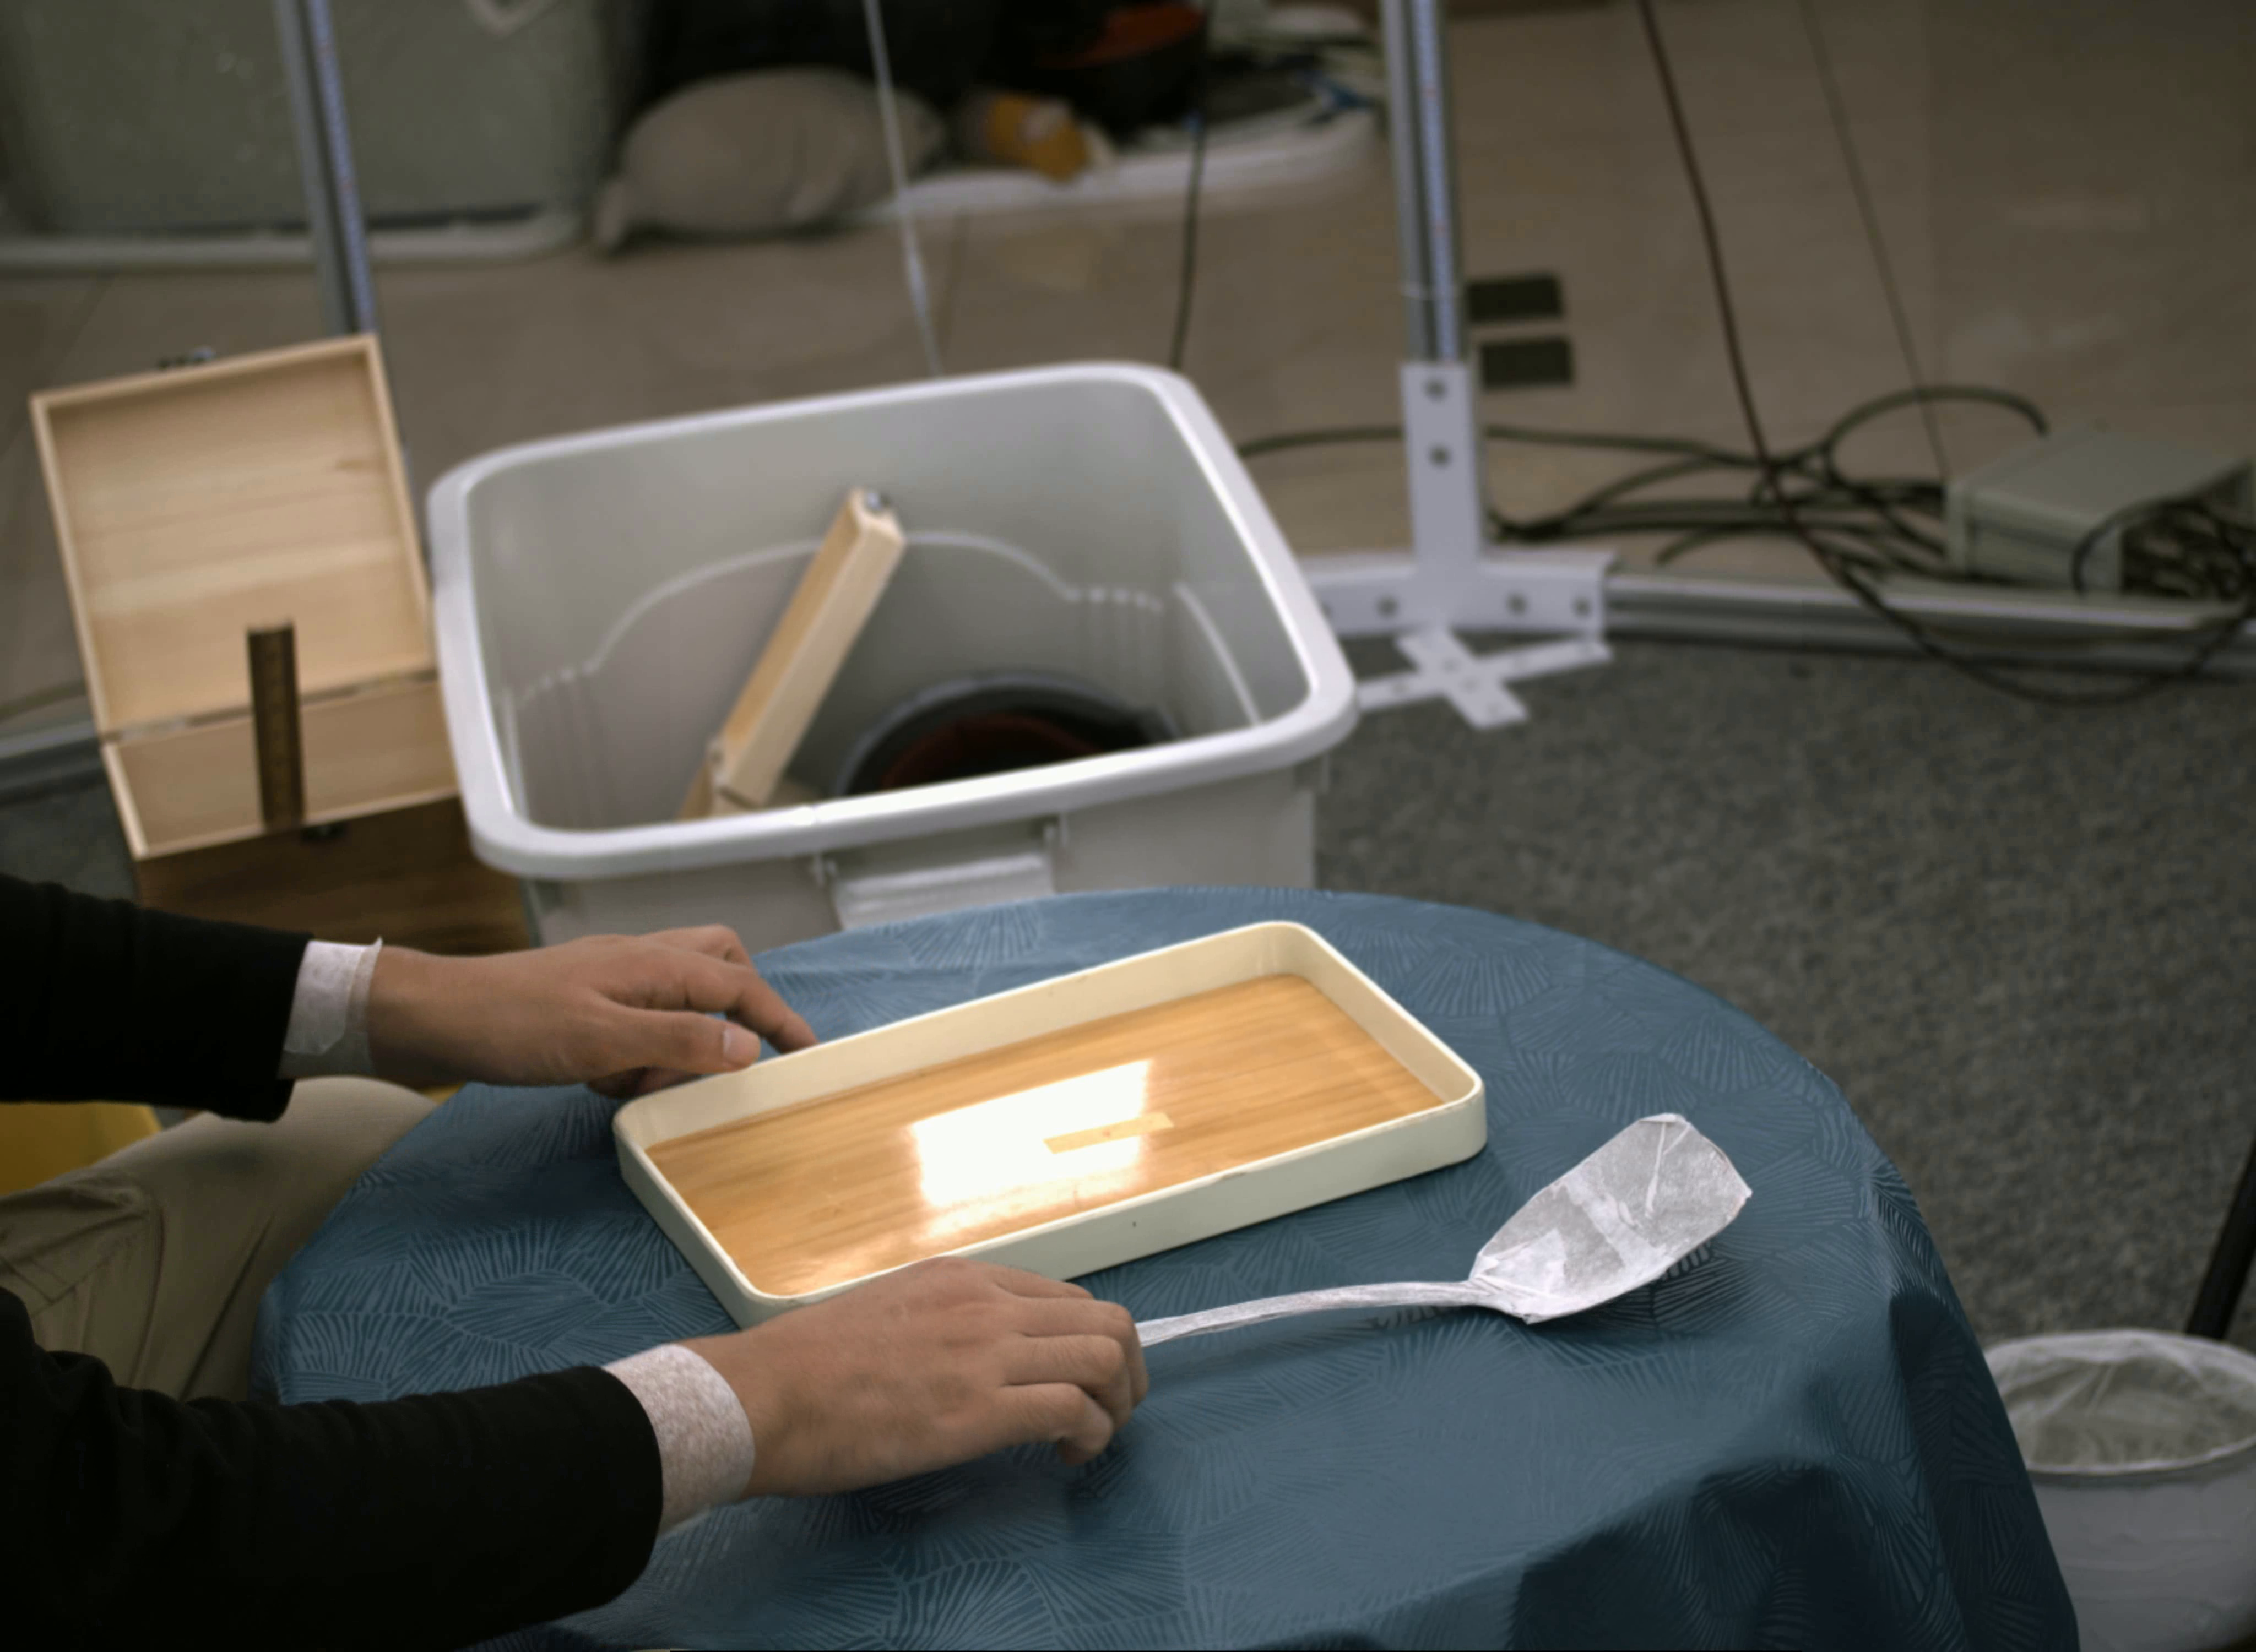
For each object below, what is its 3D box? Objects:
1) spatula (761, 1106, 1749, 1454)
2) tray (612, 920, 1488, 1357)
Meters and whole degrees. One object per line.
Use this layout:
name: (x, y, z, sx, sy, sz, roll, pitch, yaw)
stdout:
spatula: (0.045, 0.170, 2.026, 0.364, 0.045, 0.097, -11, 24, -10)
tray: (-0.031, 0.116, 2.173, 0.299, 0.028, 0.189, -15, 26, -18)
